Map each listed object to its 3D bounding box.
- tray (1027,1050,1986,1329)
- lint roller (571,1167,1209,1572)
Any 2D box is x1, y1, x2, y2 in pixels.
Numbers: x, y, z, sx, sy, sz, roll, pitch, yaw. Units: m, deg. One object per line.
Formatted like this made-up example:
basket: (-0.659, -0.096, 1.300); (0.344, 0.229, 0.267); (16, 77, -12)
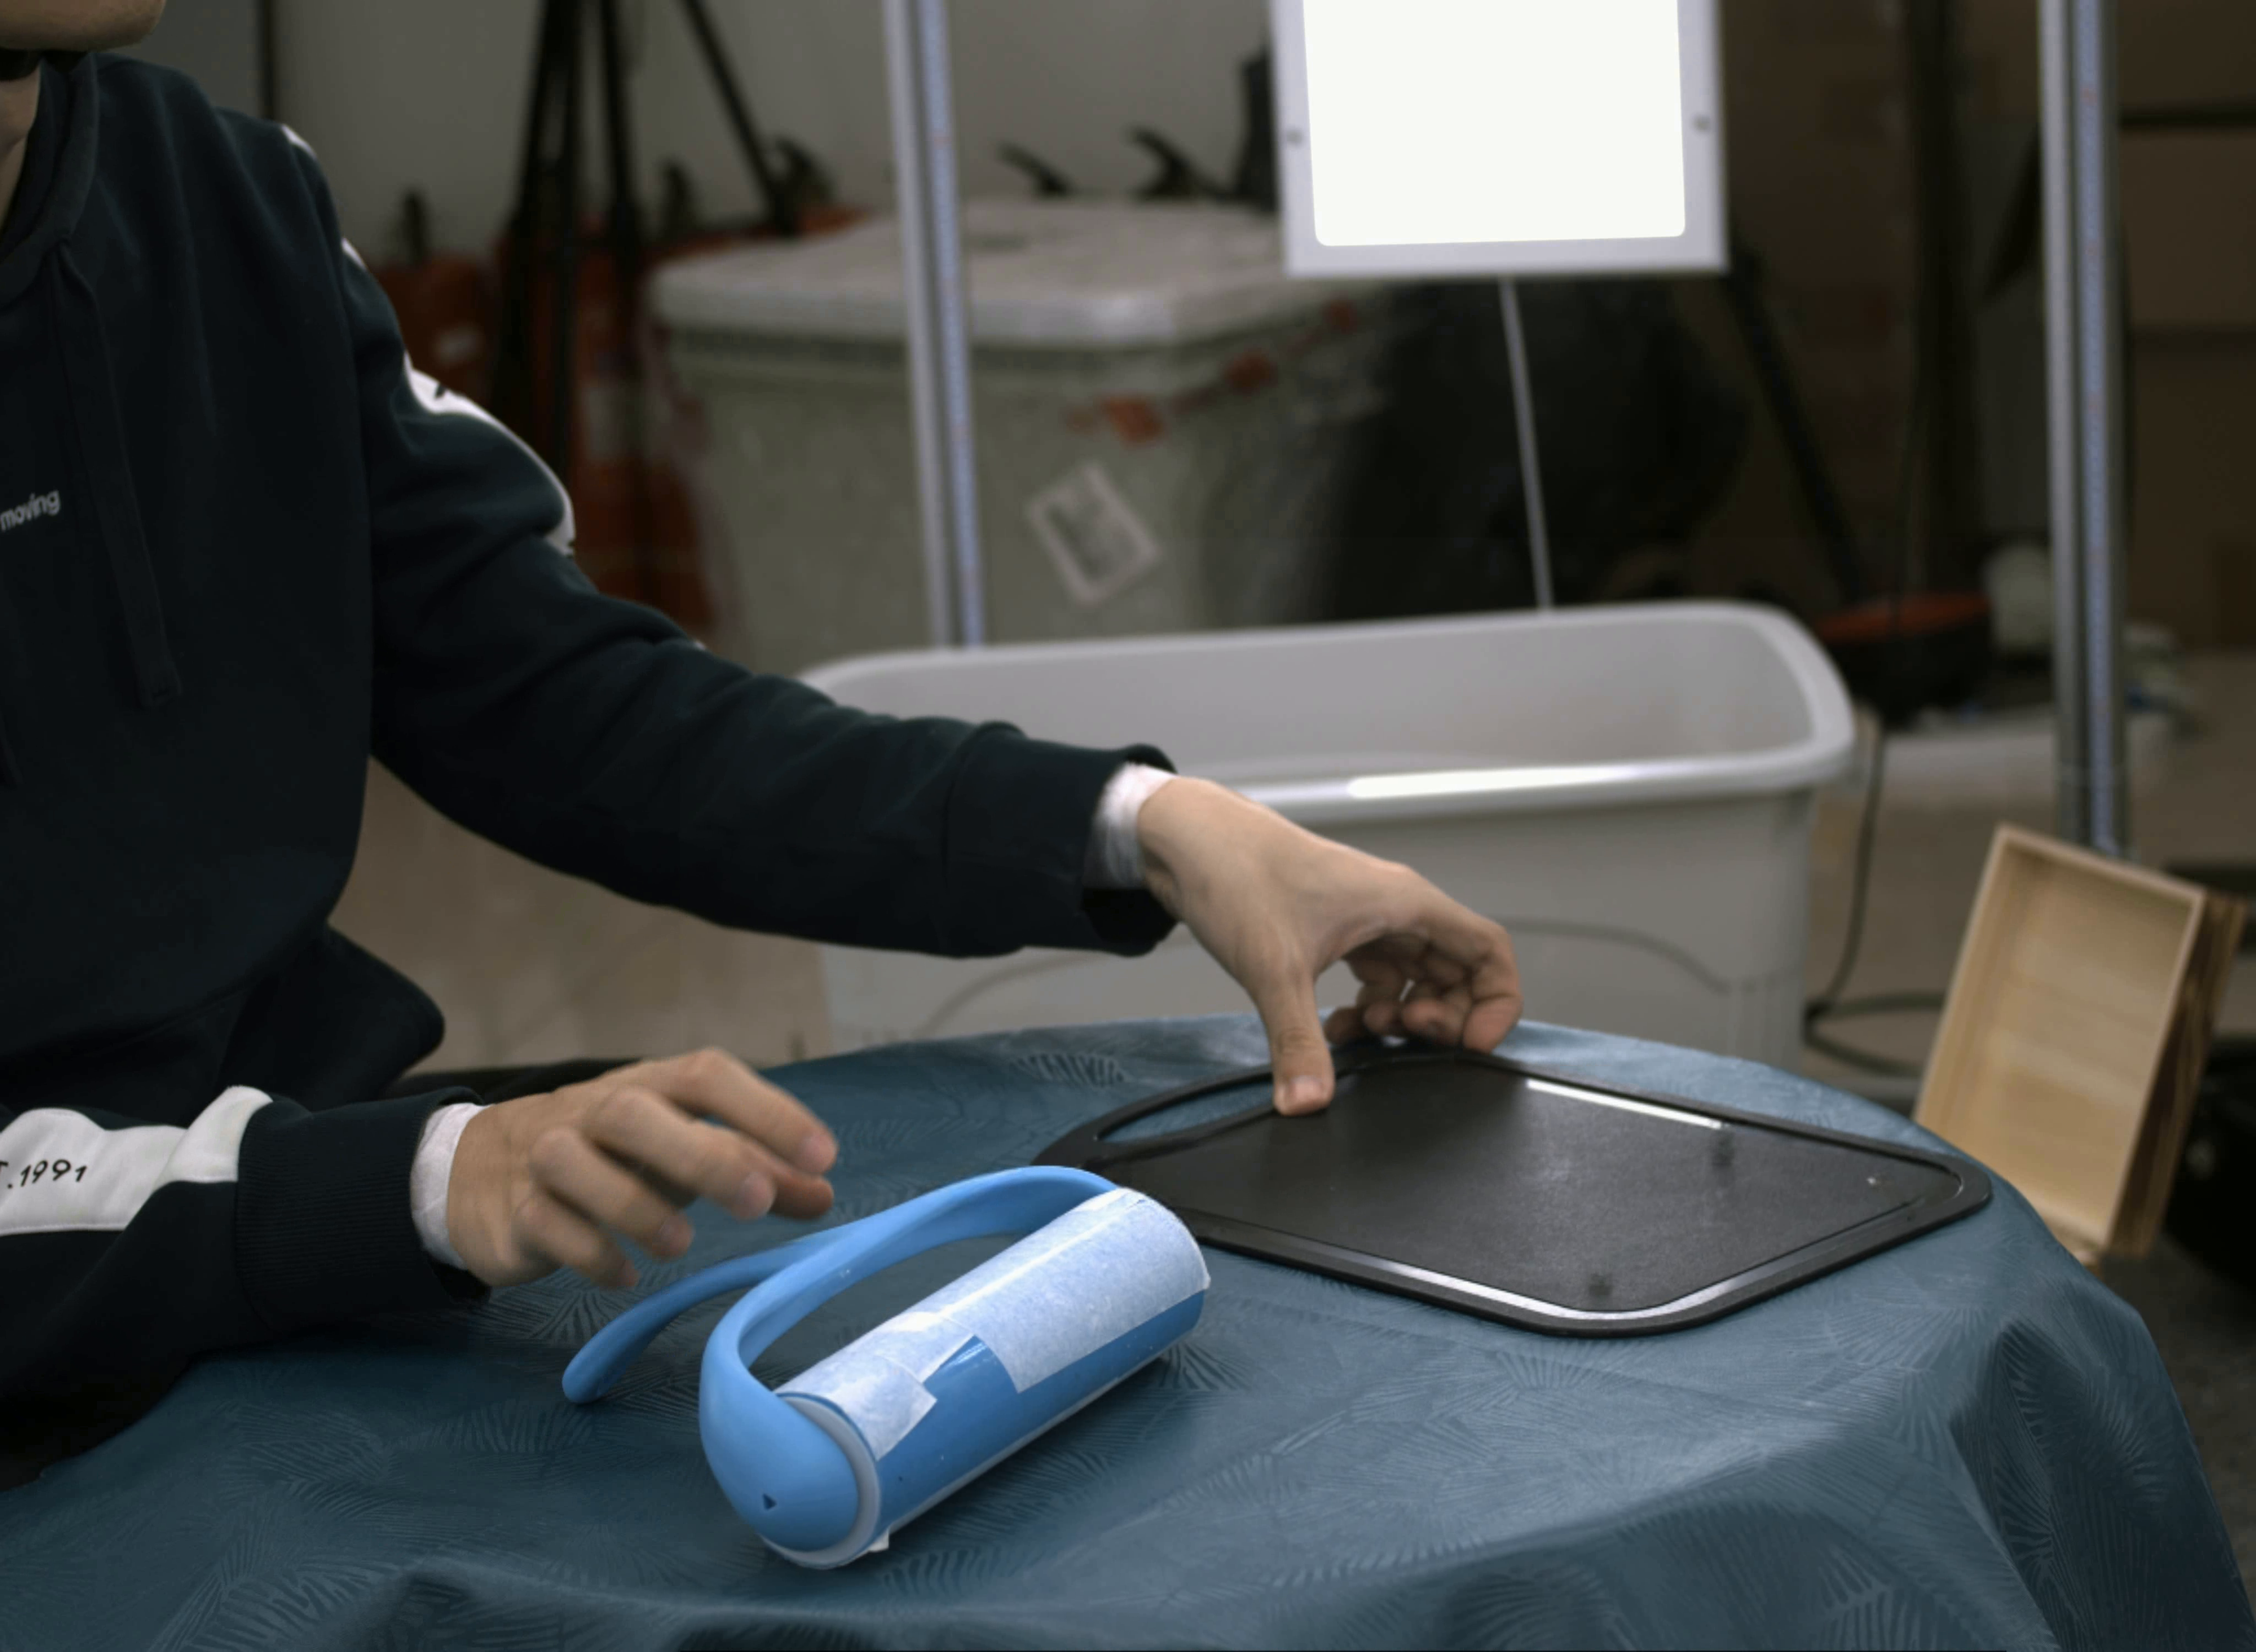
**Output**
tray: (0.119, 0.118, 1.872); (0.206, 0.010, 0.332); (-17, 18, -39)
lint roller: (-0.096, 0.159, 1.679); (0.183, 0.068, 0.224); (4, 18, 28)
